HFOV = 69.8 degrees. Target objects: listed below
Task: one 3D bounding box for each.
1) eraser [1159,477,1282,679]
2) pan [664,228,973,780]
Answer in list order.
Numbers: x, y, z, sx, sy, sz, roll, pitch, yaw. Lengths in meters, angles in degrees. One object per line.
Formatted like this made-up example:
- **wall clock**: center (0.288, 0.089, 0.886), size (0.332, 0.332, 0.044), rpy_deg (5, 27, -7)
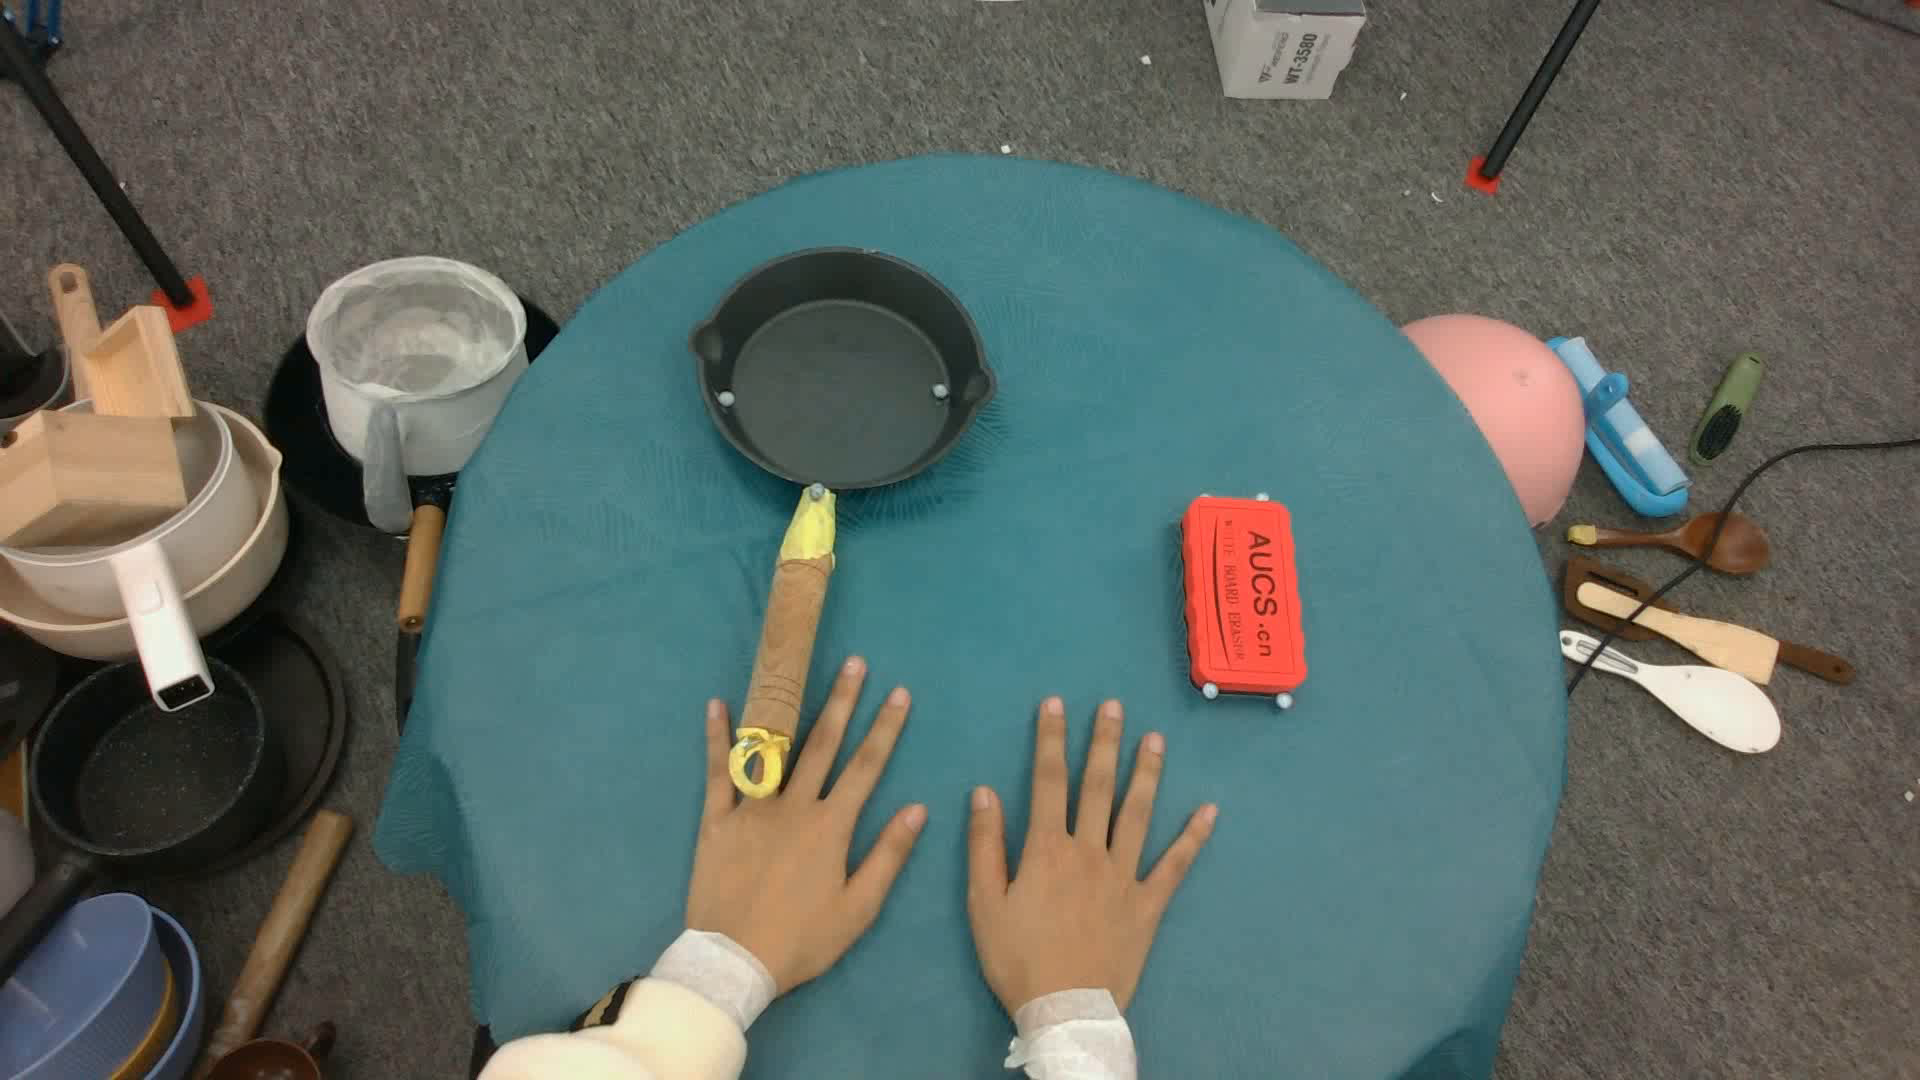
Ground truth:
- **eraser**: center (0.139, 0.020, 0.738), size (0.059, 0.023, 0.108), rpy_deg (4, 63, -6)
- **pan**: center (-0.088, -0.029, 0.715), size (0.169, 0.049, 0.325), rpy_deg (10, 62, -3)
